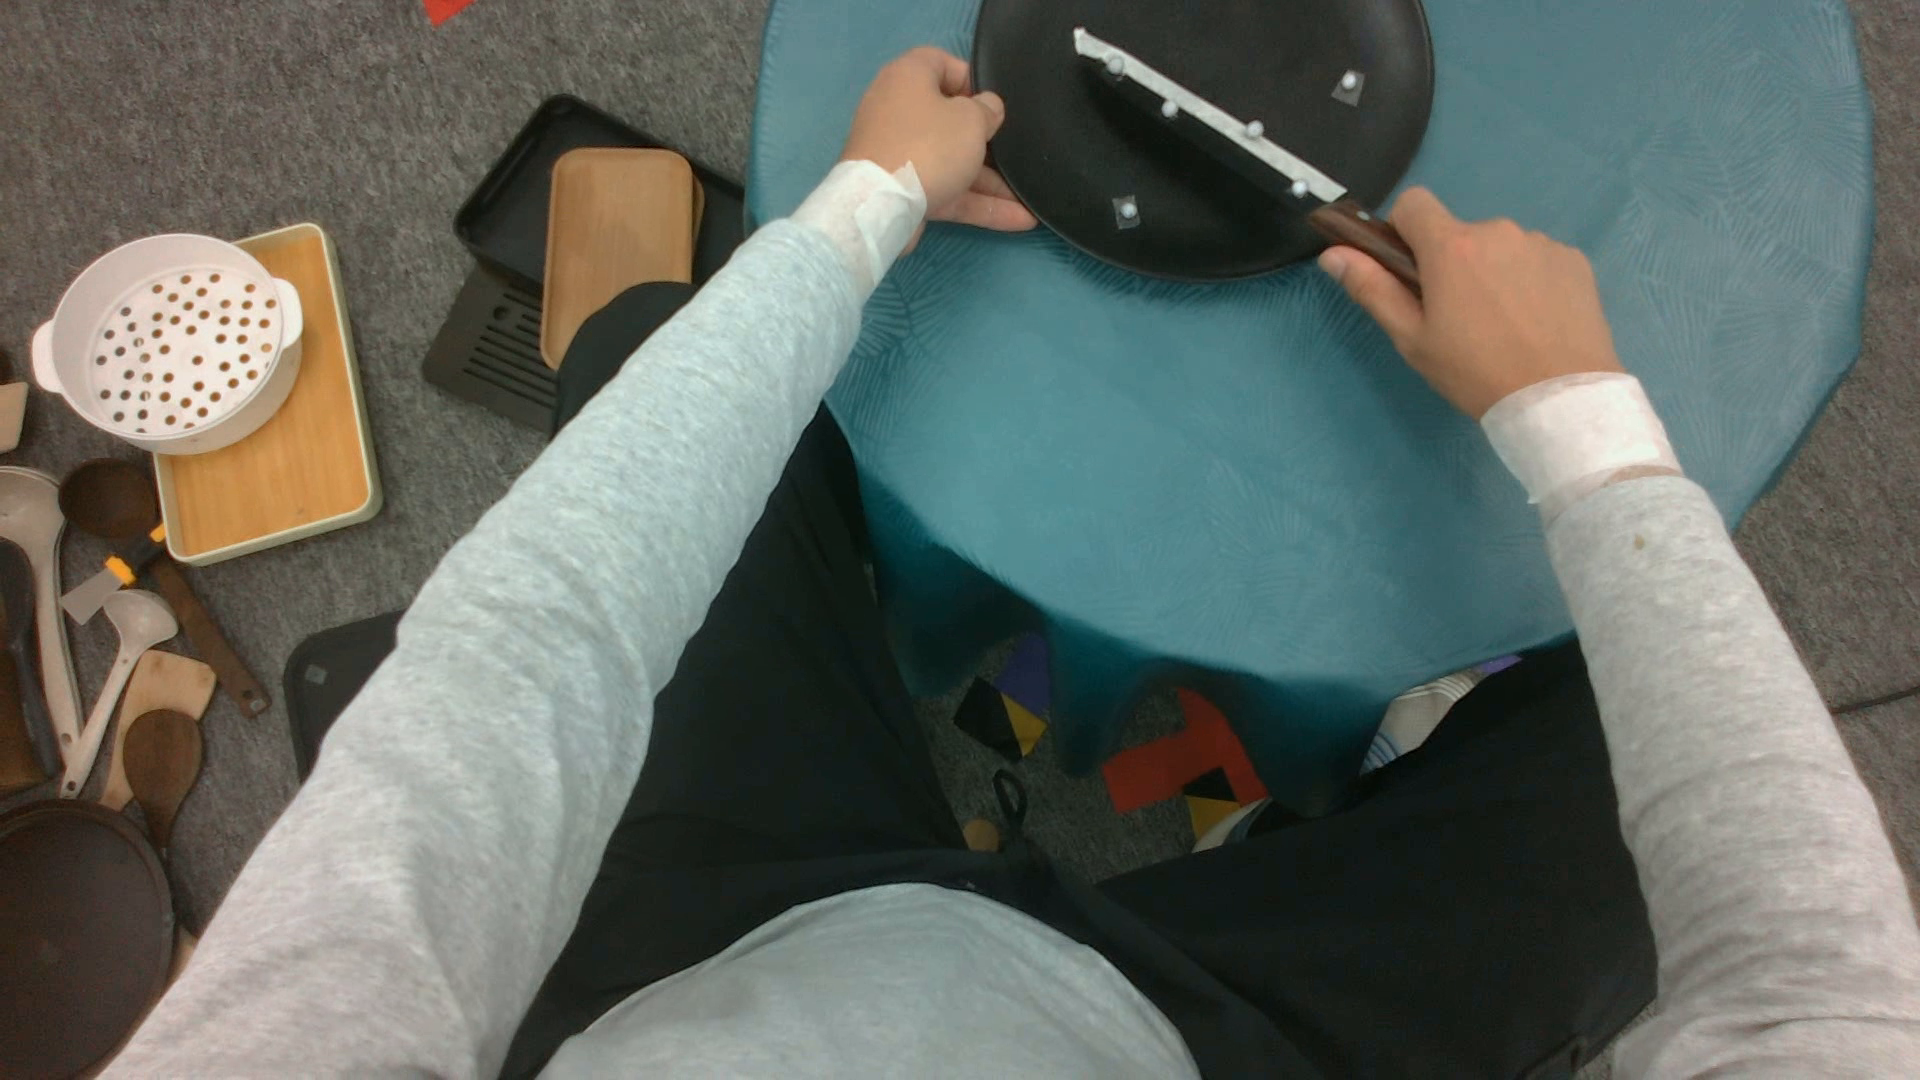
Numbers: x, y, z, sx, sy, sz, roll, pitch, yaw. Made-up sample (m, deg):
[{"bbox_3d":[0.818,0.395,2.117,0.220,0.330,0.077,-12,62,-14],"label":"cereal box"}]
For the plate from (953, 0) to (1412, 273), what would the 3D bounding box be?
[{"bbox_3d":[0.118,-0.255,0.740,0.244,0.023,0.245,0,79,1],"label":"plate"}]

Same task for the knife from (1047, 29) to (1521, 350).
[{"bbox_3d":[0.156,-0.184,0.695,0.289,0.020,0.050,38,44,14],"label":"knife"}]
